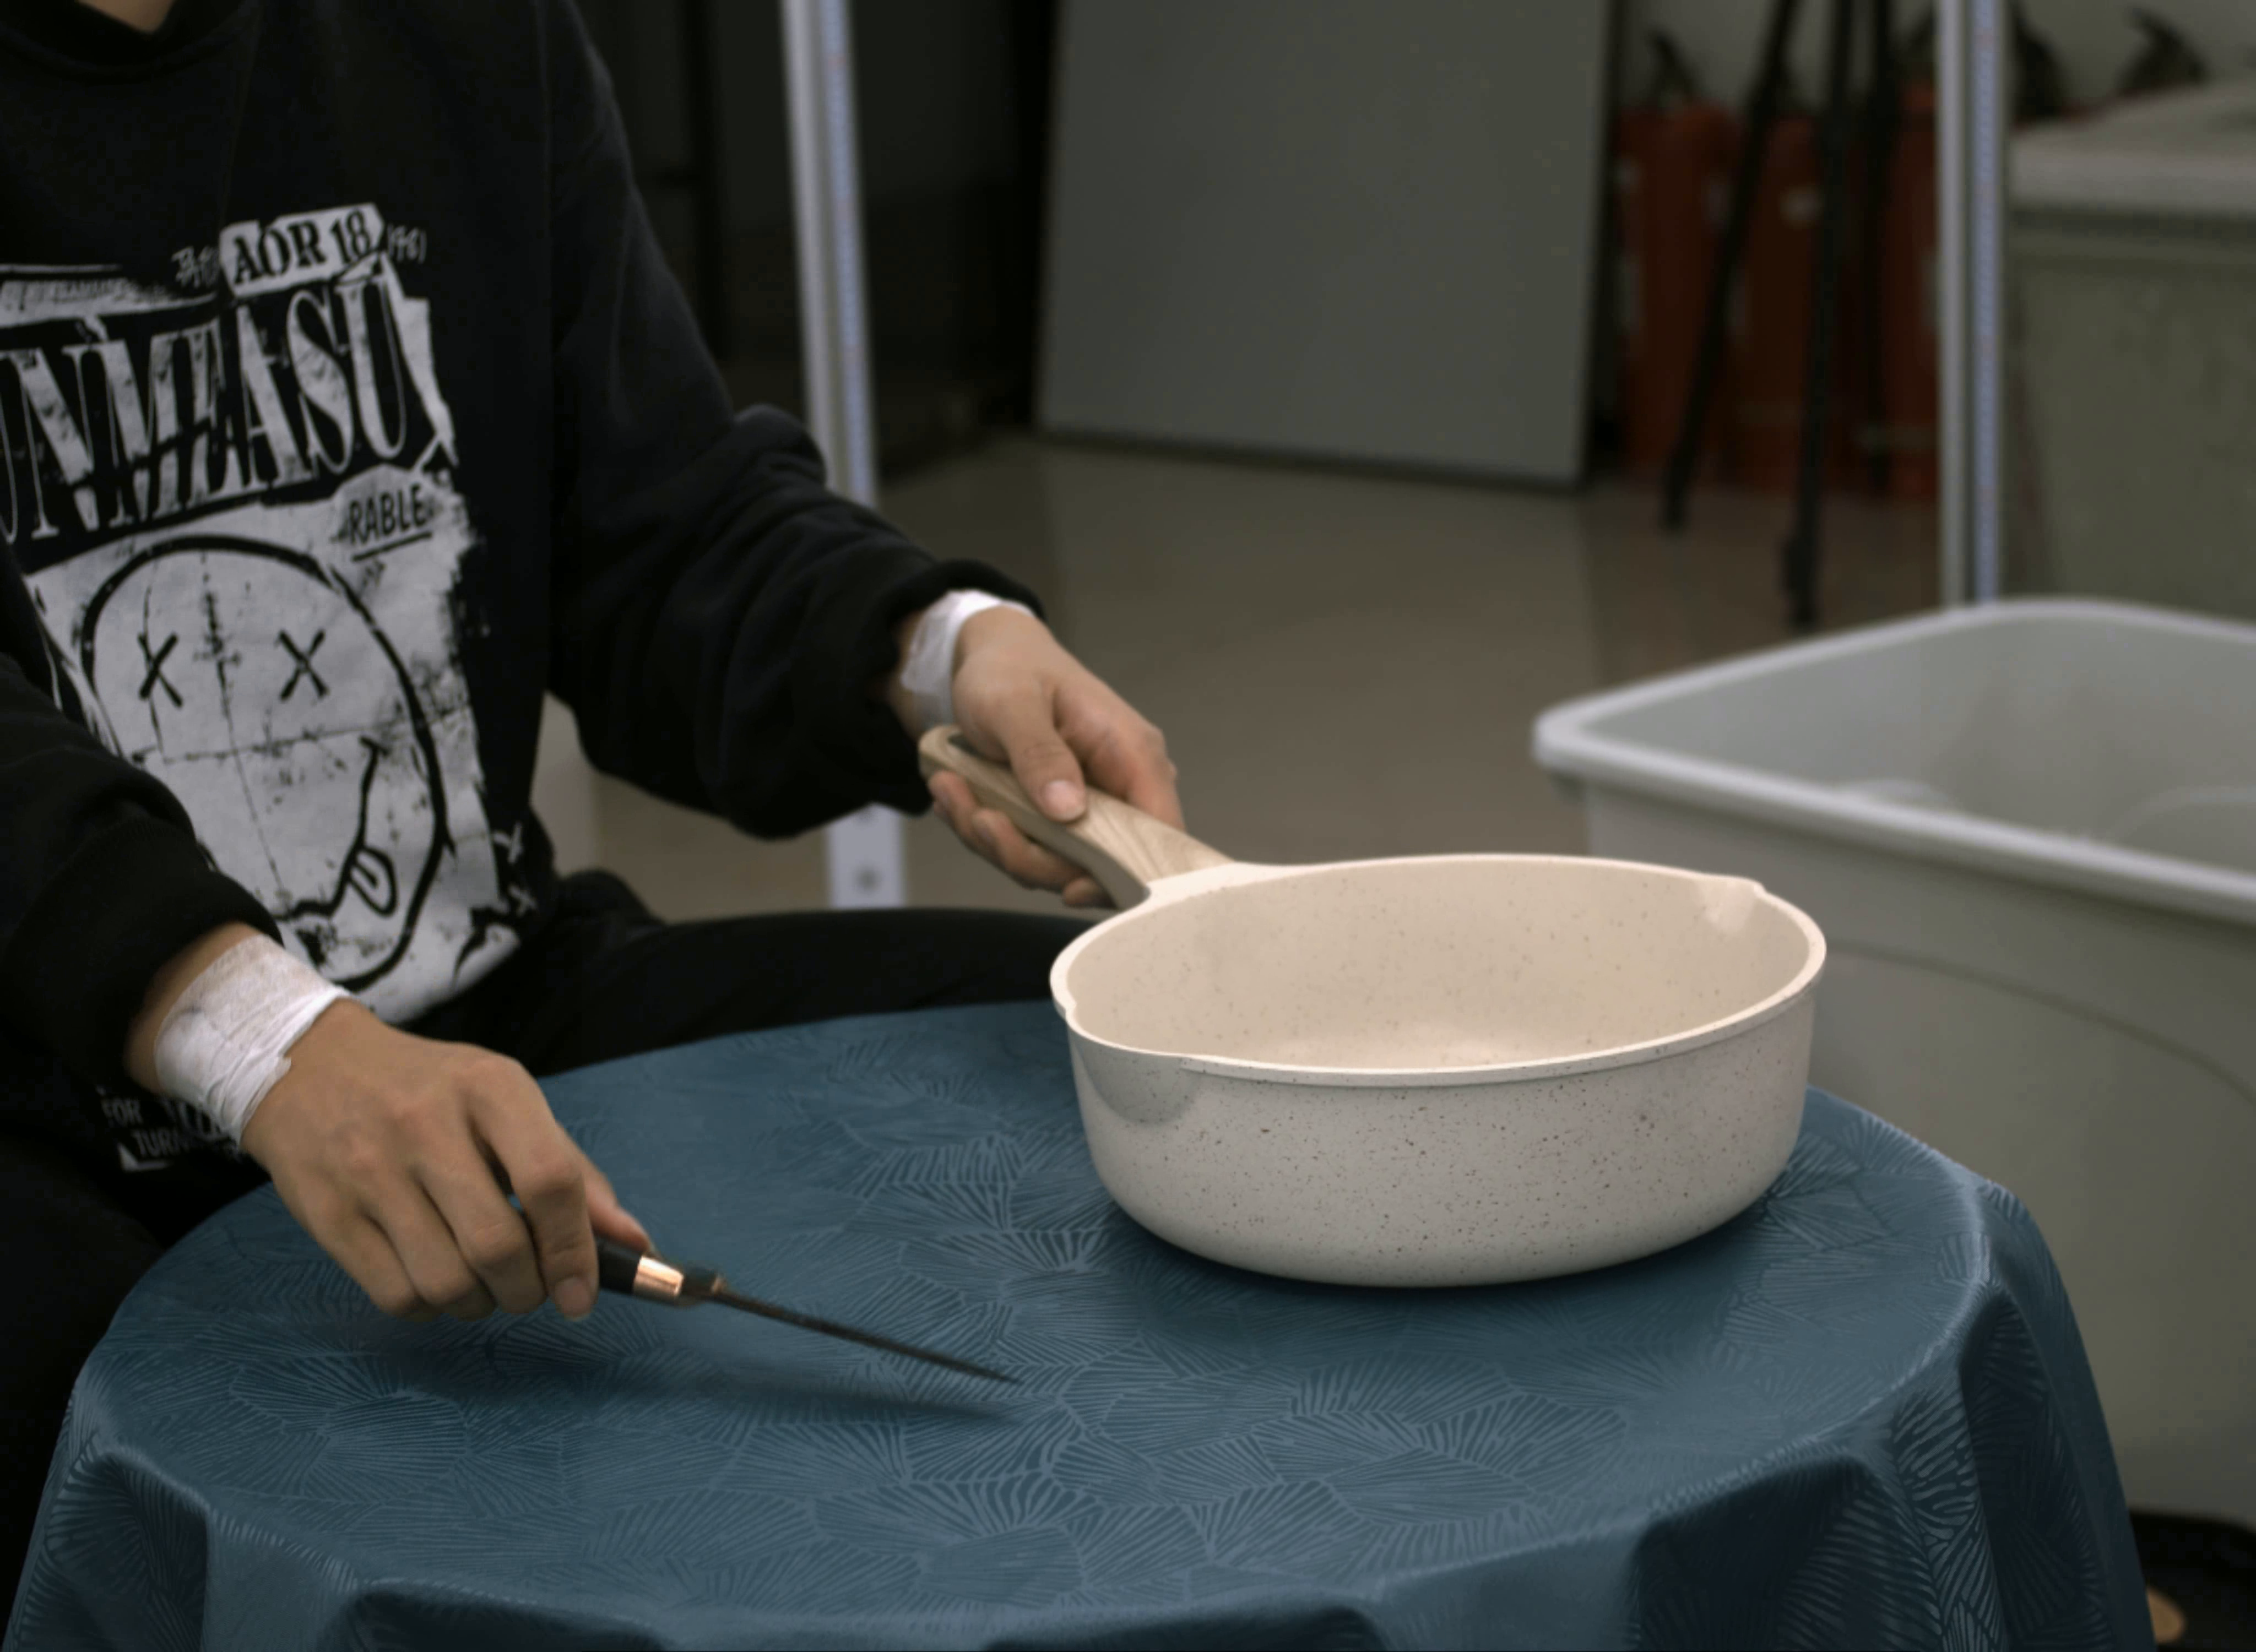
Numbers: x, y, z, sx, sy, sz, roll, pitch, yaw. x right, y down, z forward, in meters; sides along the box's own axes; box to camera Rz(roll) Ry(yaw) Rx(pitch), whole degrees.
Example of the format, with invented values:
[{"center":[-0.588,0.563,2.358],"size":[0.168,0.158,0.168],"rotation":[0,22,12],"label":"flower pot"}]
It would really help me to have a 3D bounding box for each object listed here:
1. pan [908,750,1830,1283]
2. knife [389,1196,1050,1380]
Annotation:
[{"center":[0.053,0.056,1.815],"size":[0.258,0.103,0.439],"rotation":[-15,17,-30],"label":"pan"},{"center":[-0.125,0.140,1.624],"size":[0.226,0.017,0.026],"rotation":[11,-6,26],"label":"knife"}]
